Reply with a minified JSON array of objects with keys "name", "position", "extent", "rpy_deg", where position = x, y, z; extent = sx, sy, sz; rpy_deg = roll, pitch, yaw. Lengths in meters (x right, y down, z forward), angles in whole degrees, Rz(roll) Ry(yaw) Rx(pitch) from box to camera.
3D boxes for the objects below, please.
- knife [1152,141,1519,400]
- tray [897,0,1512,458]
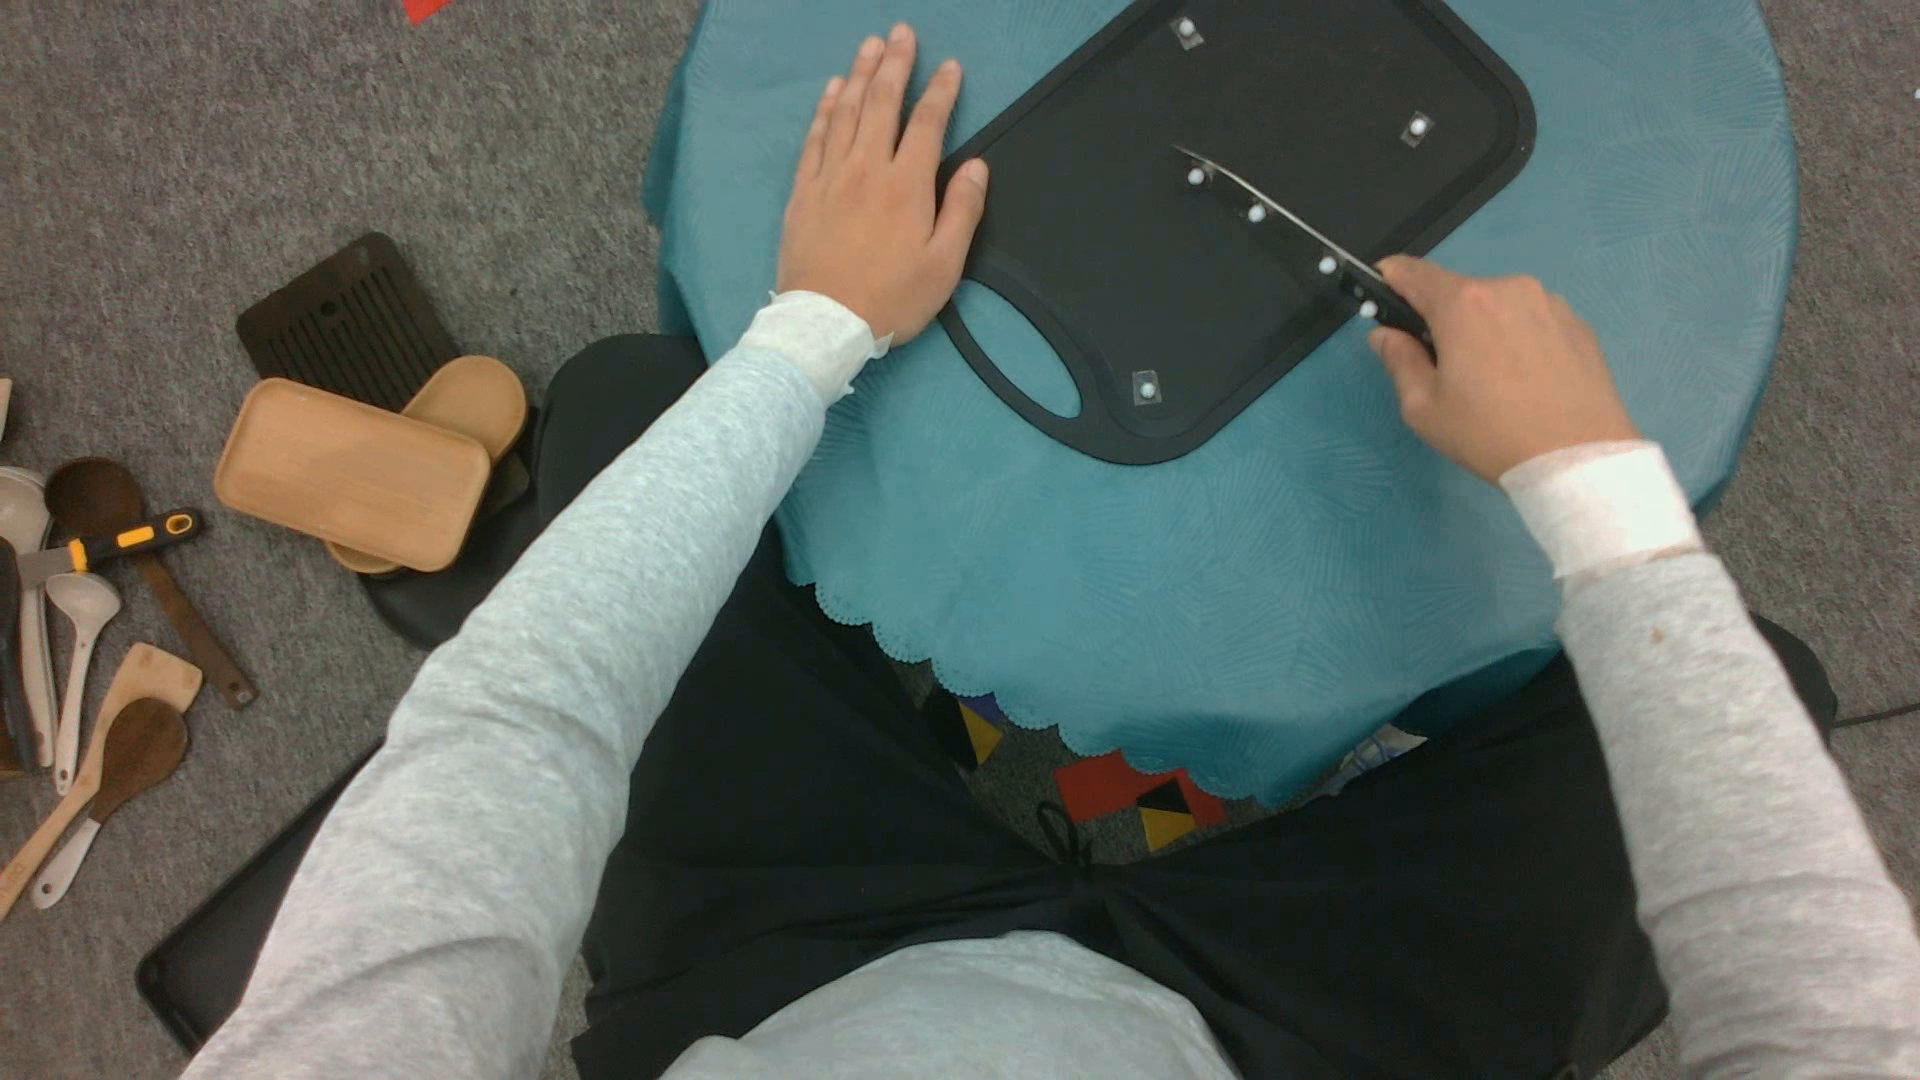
[{"name":"knife","position":[0.178,-0.143,0.684],"extent":[0.016,0.024,0.238],"rpy_deg":[-37,60,-16]},{"name":"tray","position":[0.126,-0.195,0.740],"extent":[0.325,0.010,0.211],"rpy_deg":[-40,81,-5]}]
